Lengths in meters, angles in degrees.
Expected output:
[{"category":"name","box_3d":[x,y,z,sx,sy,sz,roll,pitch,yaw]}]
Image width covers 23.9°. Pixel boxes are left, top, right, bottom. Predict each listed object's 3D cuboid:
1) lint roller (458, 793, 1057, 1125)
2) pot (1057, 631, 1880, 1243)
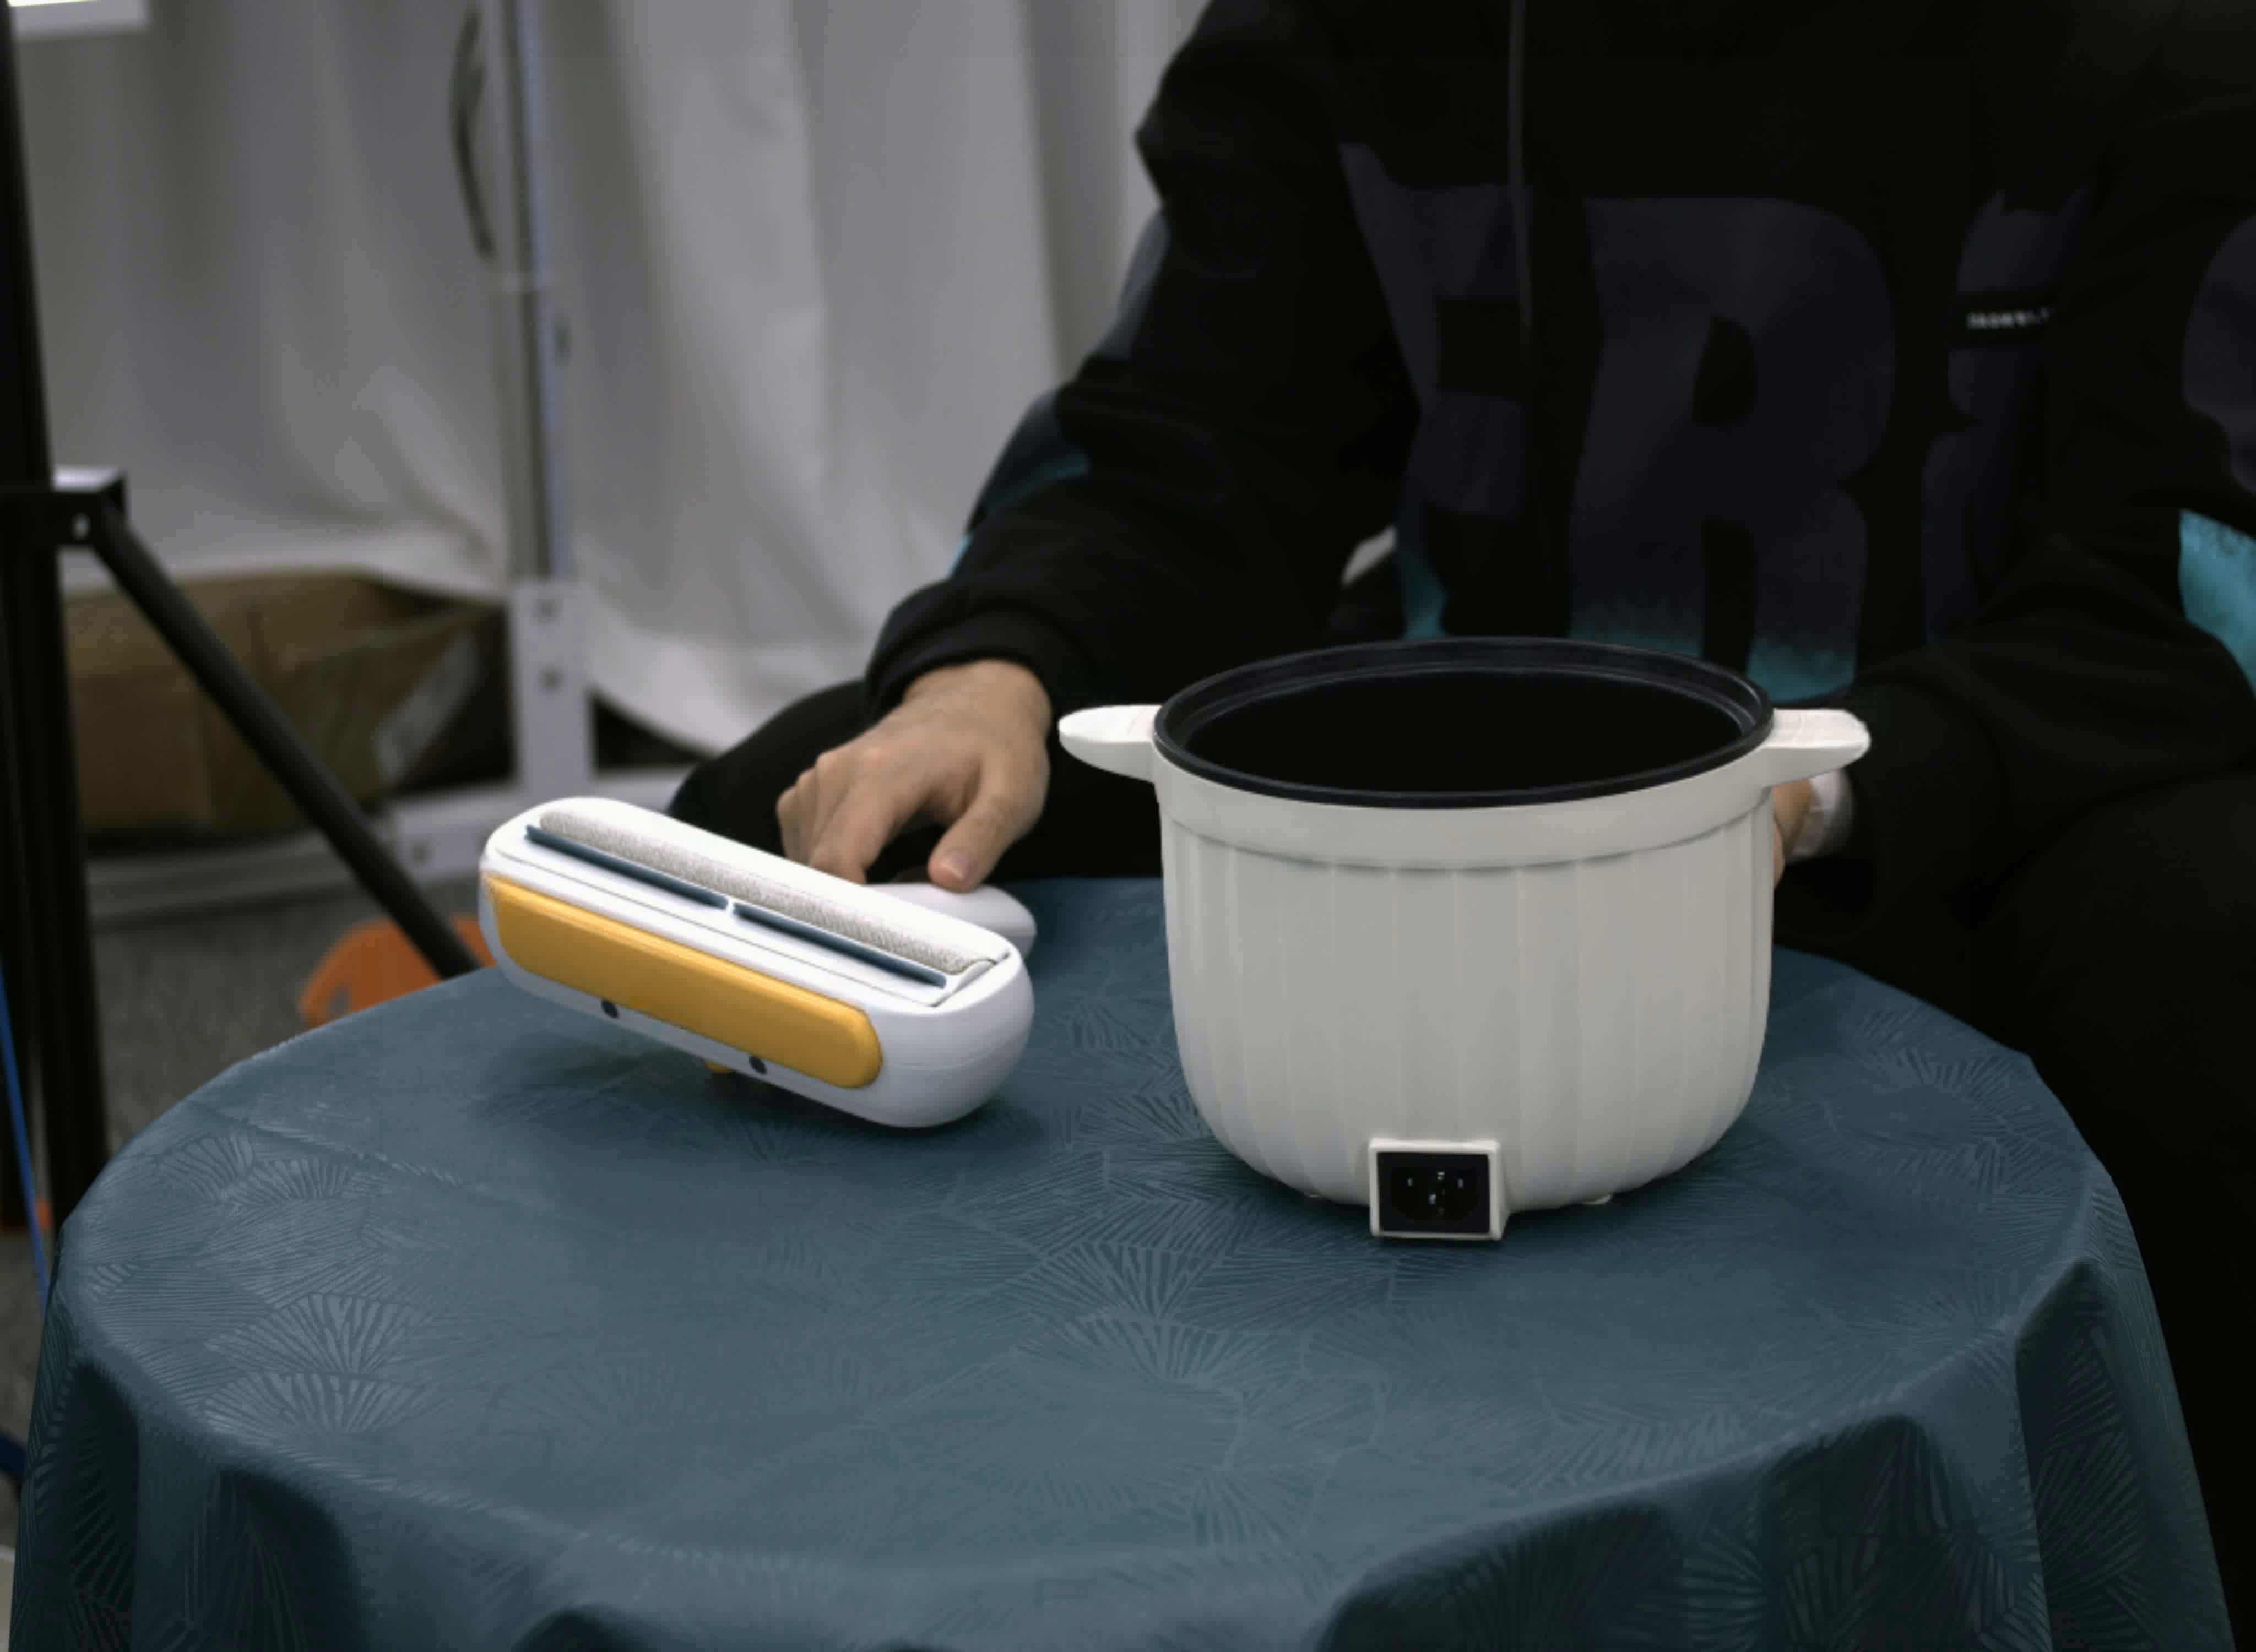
[{"category":"lint roller","box_3d":[-0.090,0.034,1.710,0.197,0.074,0.188,15,21,35]},{"category":"pot","box_3d":[0.099,0.029,1.563,0.241,0.142,0.190,2,19,11]}]
